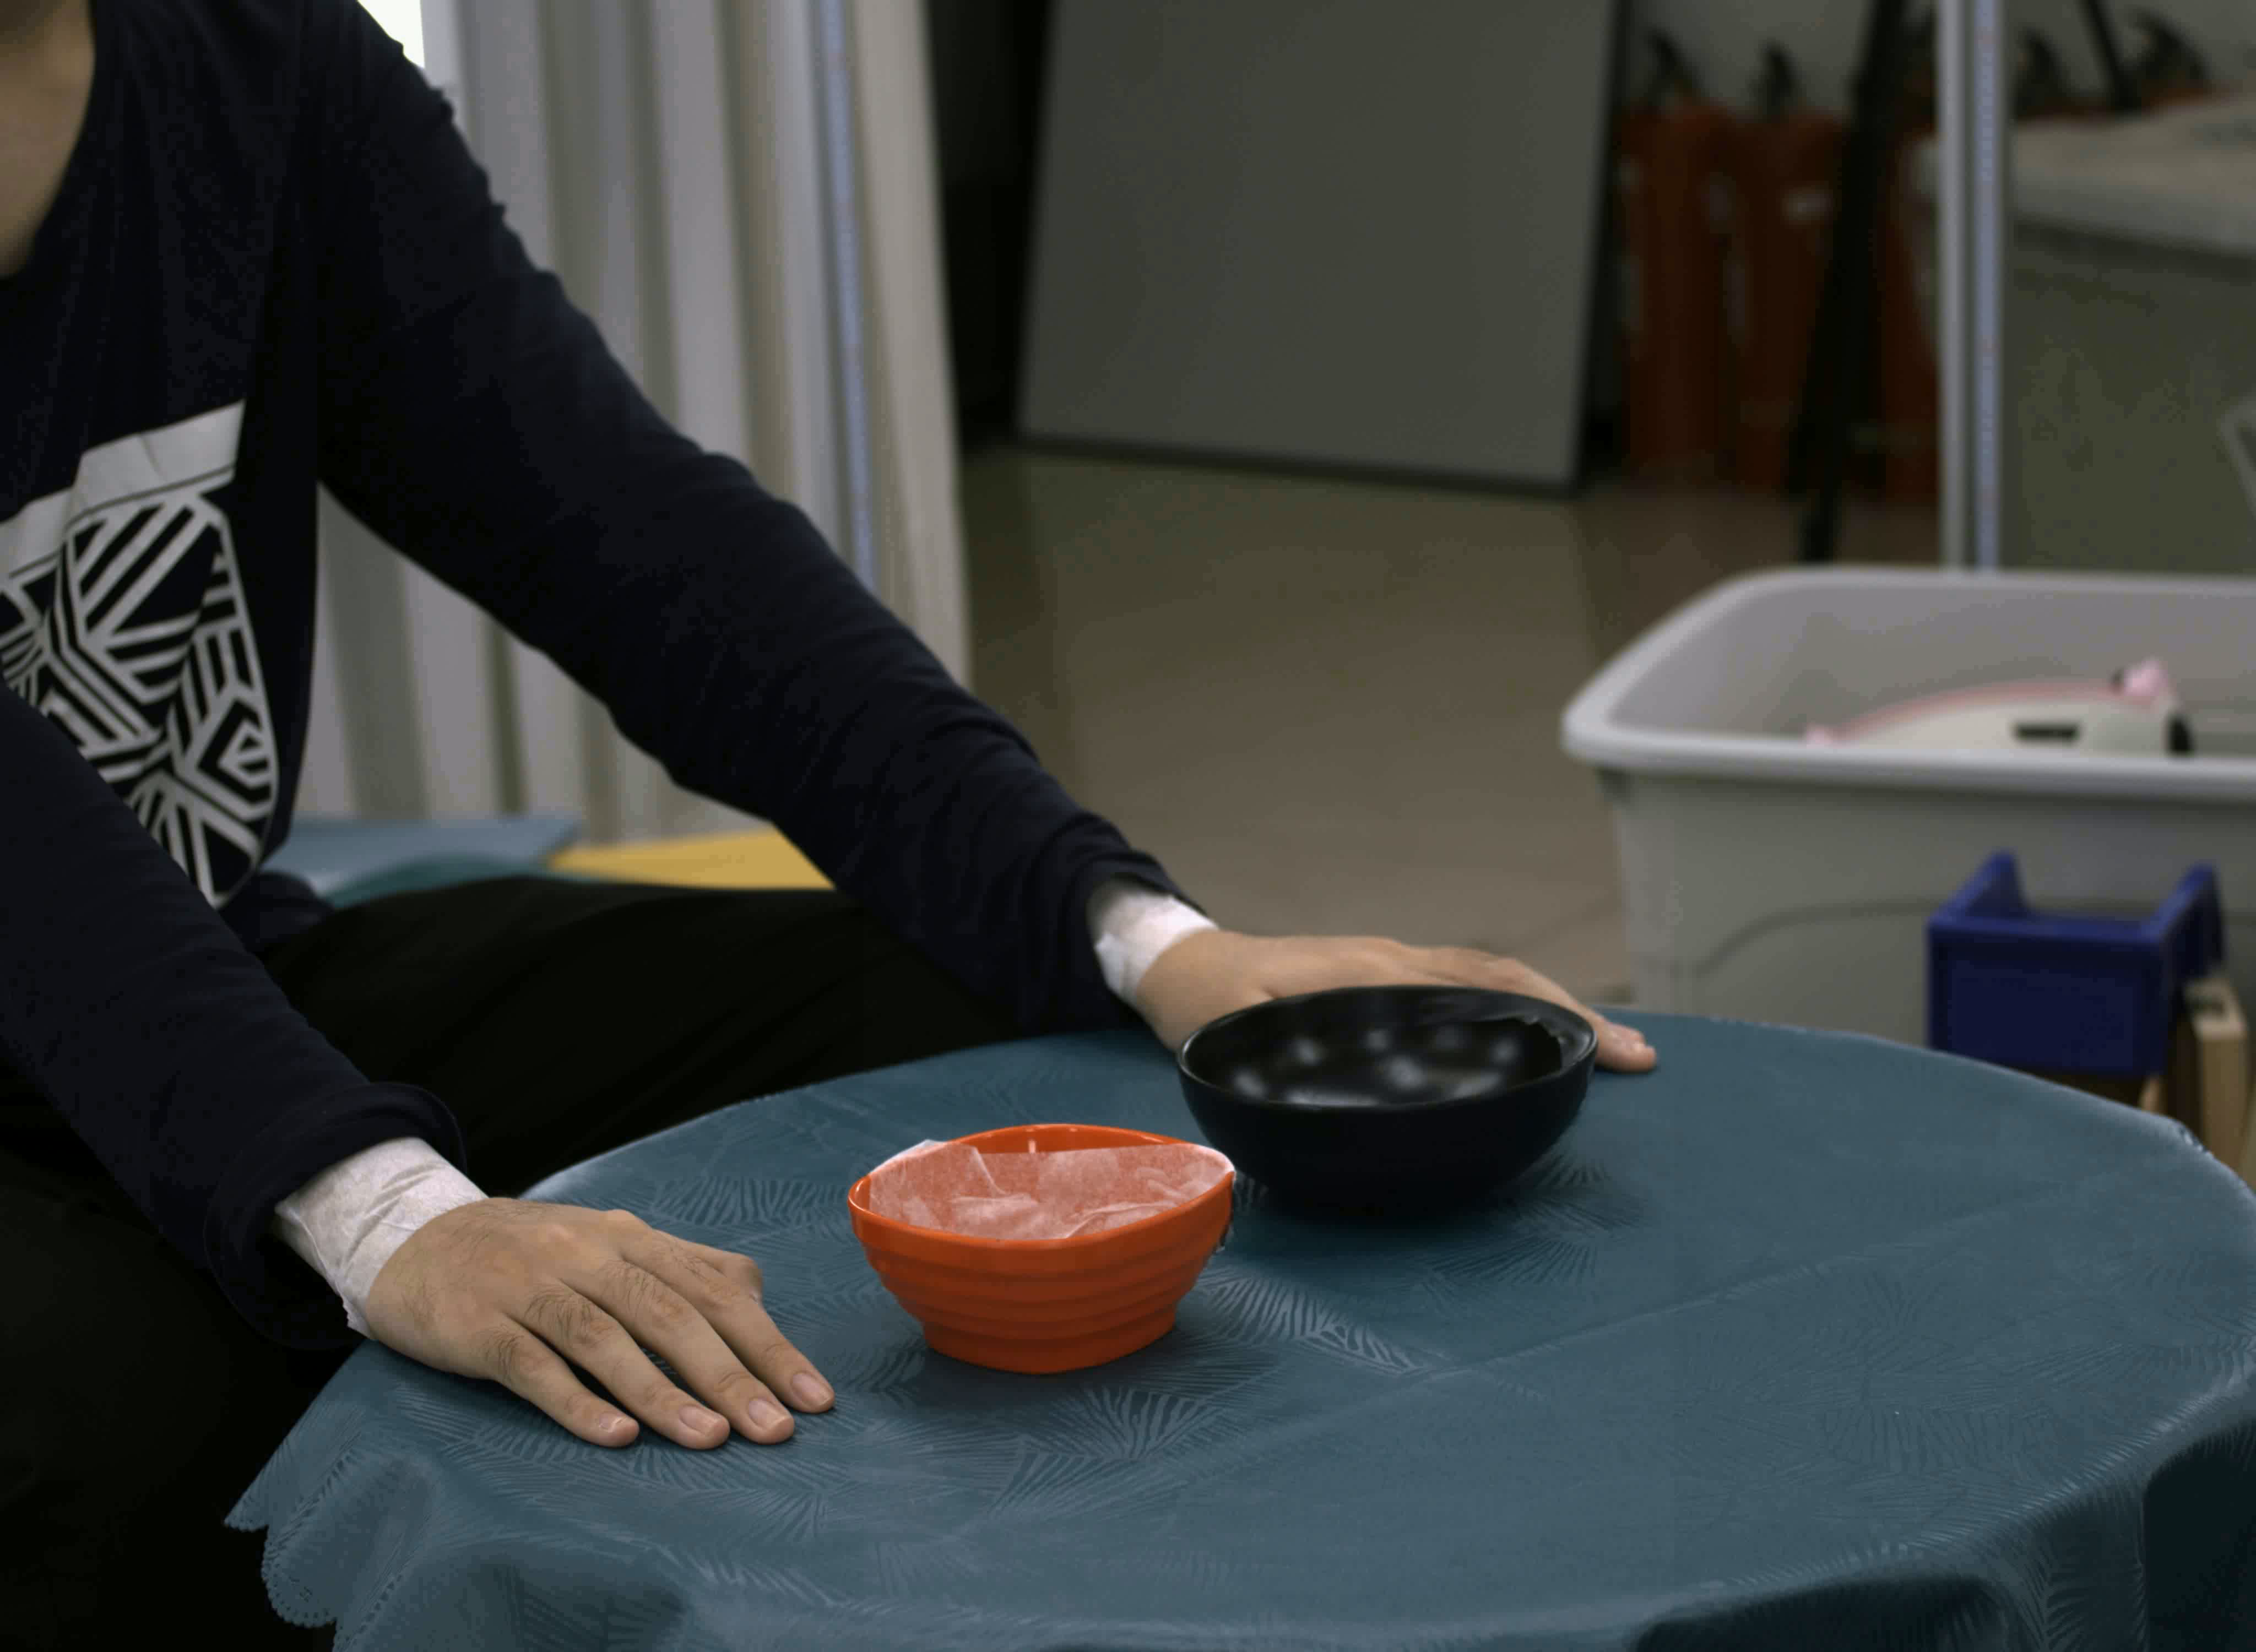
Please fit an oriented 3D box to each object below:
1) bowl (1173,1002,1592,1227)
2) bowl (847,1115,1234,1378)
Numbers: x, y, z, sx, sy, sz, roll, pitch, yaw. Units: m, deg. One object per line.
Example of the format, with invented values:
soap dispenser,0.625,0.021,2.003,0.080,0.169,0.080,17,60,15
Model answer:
bowl,0.085,0.097,1.757,0.138,0.050,0.140,-7,10,0
bowl,-0.025,0.130,1.635,0.117,0.052,0.119,-3,16,0
